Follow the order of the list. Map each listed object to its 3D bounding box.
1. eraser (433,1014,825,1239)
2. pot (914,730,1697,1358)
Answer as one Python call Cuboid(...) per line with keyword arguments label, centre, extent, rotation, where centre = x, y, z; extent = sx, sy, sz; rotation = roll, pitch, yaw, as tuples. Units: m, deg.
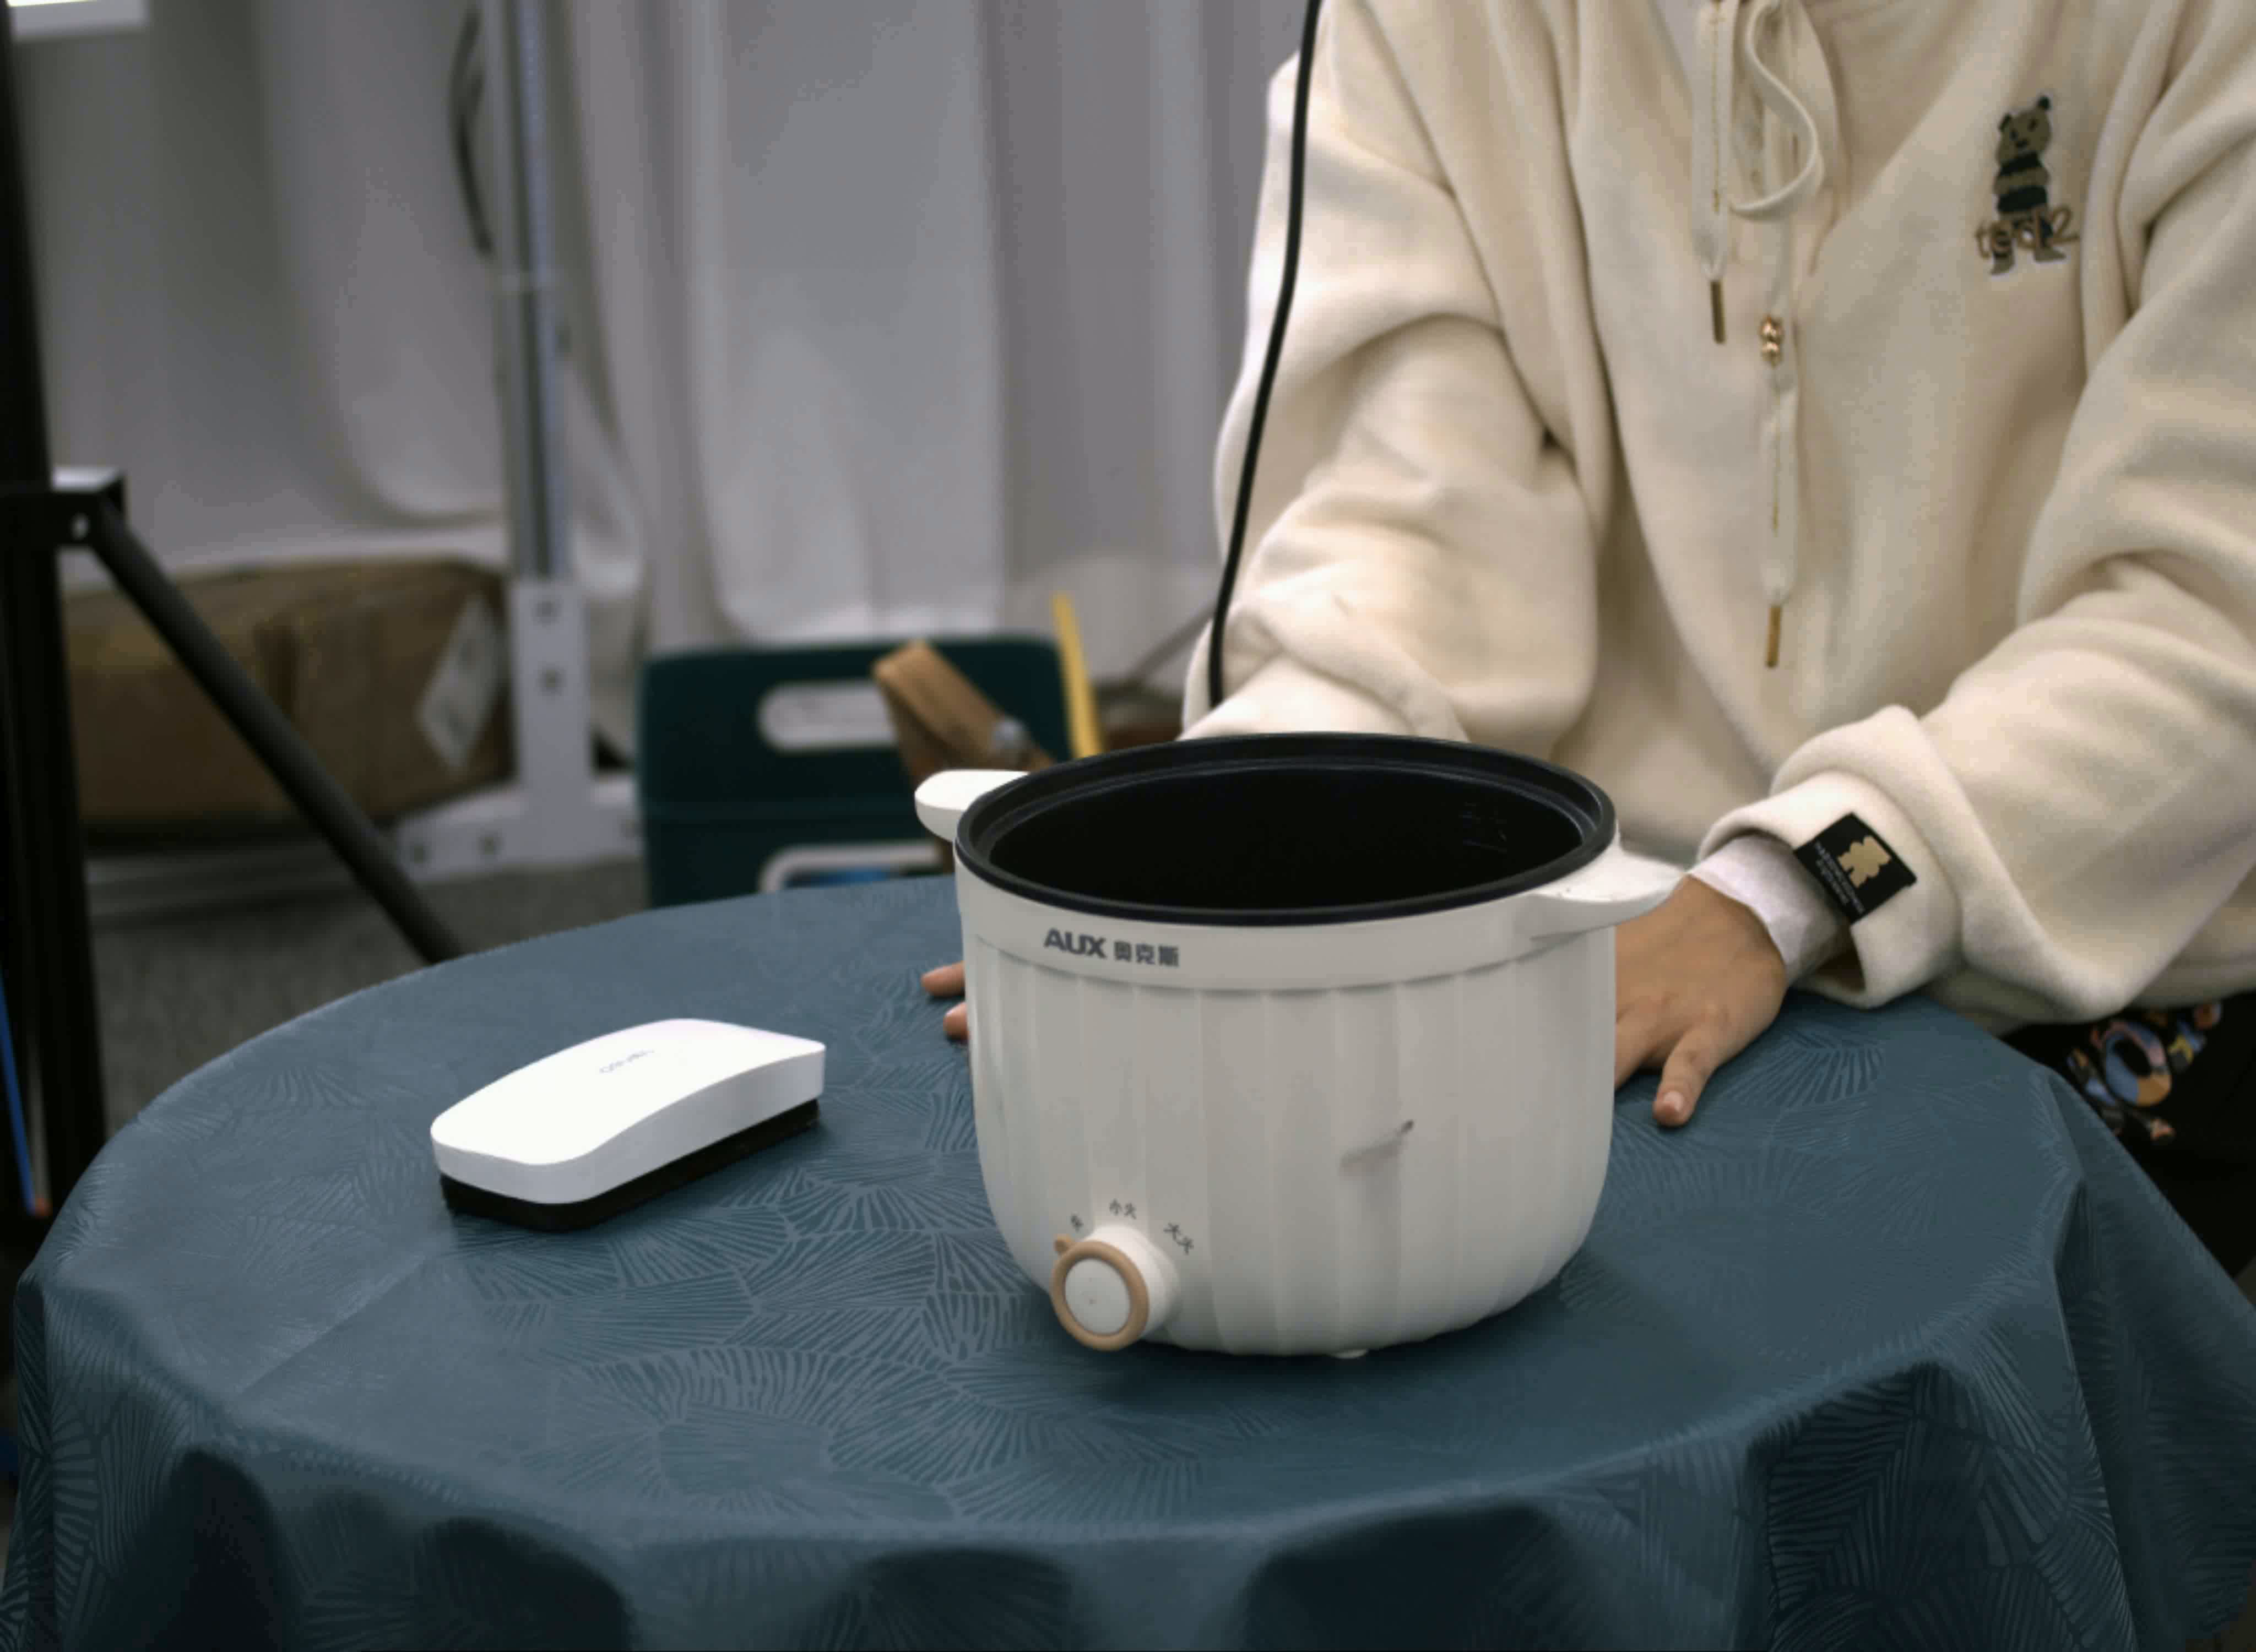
Cuboid(label="eraser", centre=(-0.148, 0.087, 1.602), extent=(0.065, 0.034, 0.128), rotation=(12, 22, 35))
Cuboid(label="pot", centre=(0.044, 0.062, 1.455), extent=(0.245, 0.143, 0.186), rotation=(7, 15, 33))
